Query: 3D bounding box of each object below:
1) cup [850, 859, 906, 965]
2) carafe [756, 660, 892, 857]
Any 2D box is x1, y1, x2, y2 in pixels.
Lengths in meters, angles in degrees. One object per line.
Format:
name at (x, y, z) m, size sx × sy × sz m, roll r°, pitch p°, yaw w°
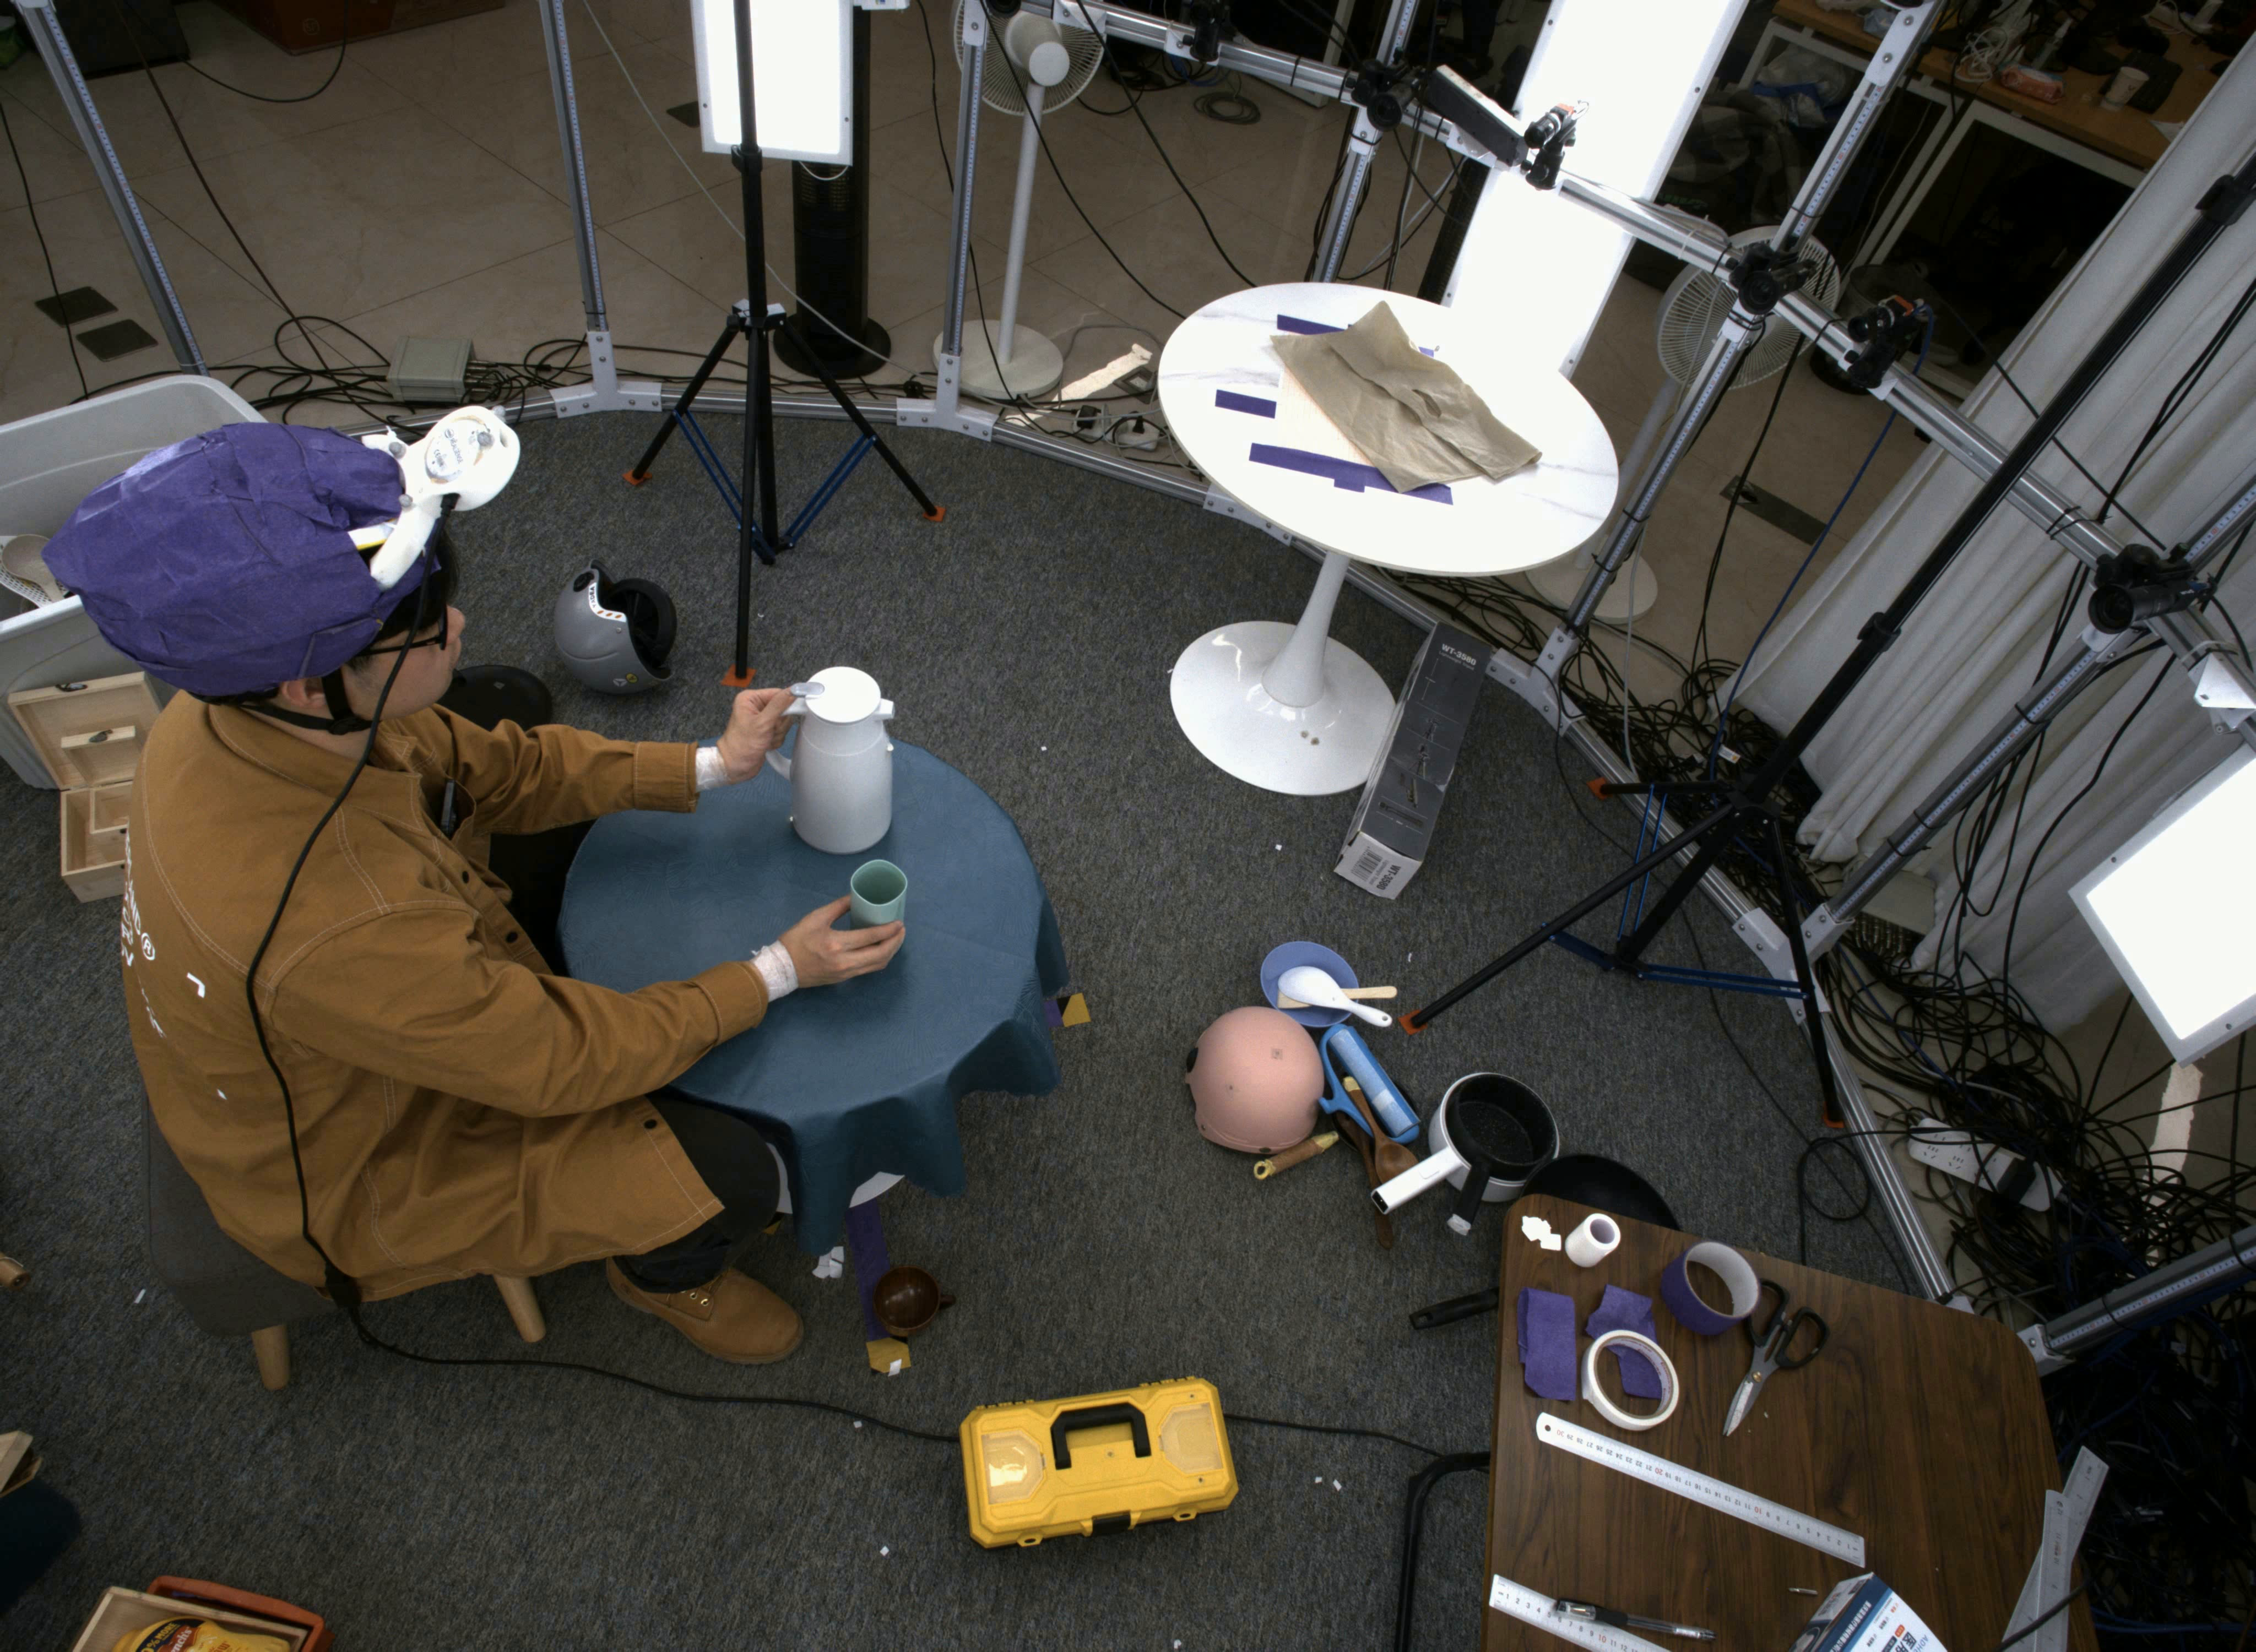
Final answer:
cup at (-0.307, 0.106, 1.589) m, size 0.066 × 0.135 × 0.065 m, roll 7°, pitch 51°, yaw -7°
carafe at (-0.384, -0.092, 1.643) m, size 0.167 × 0.254 × 0.130 m, roll 5°, pitch 50°, yaw -7°
